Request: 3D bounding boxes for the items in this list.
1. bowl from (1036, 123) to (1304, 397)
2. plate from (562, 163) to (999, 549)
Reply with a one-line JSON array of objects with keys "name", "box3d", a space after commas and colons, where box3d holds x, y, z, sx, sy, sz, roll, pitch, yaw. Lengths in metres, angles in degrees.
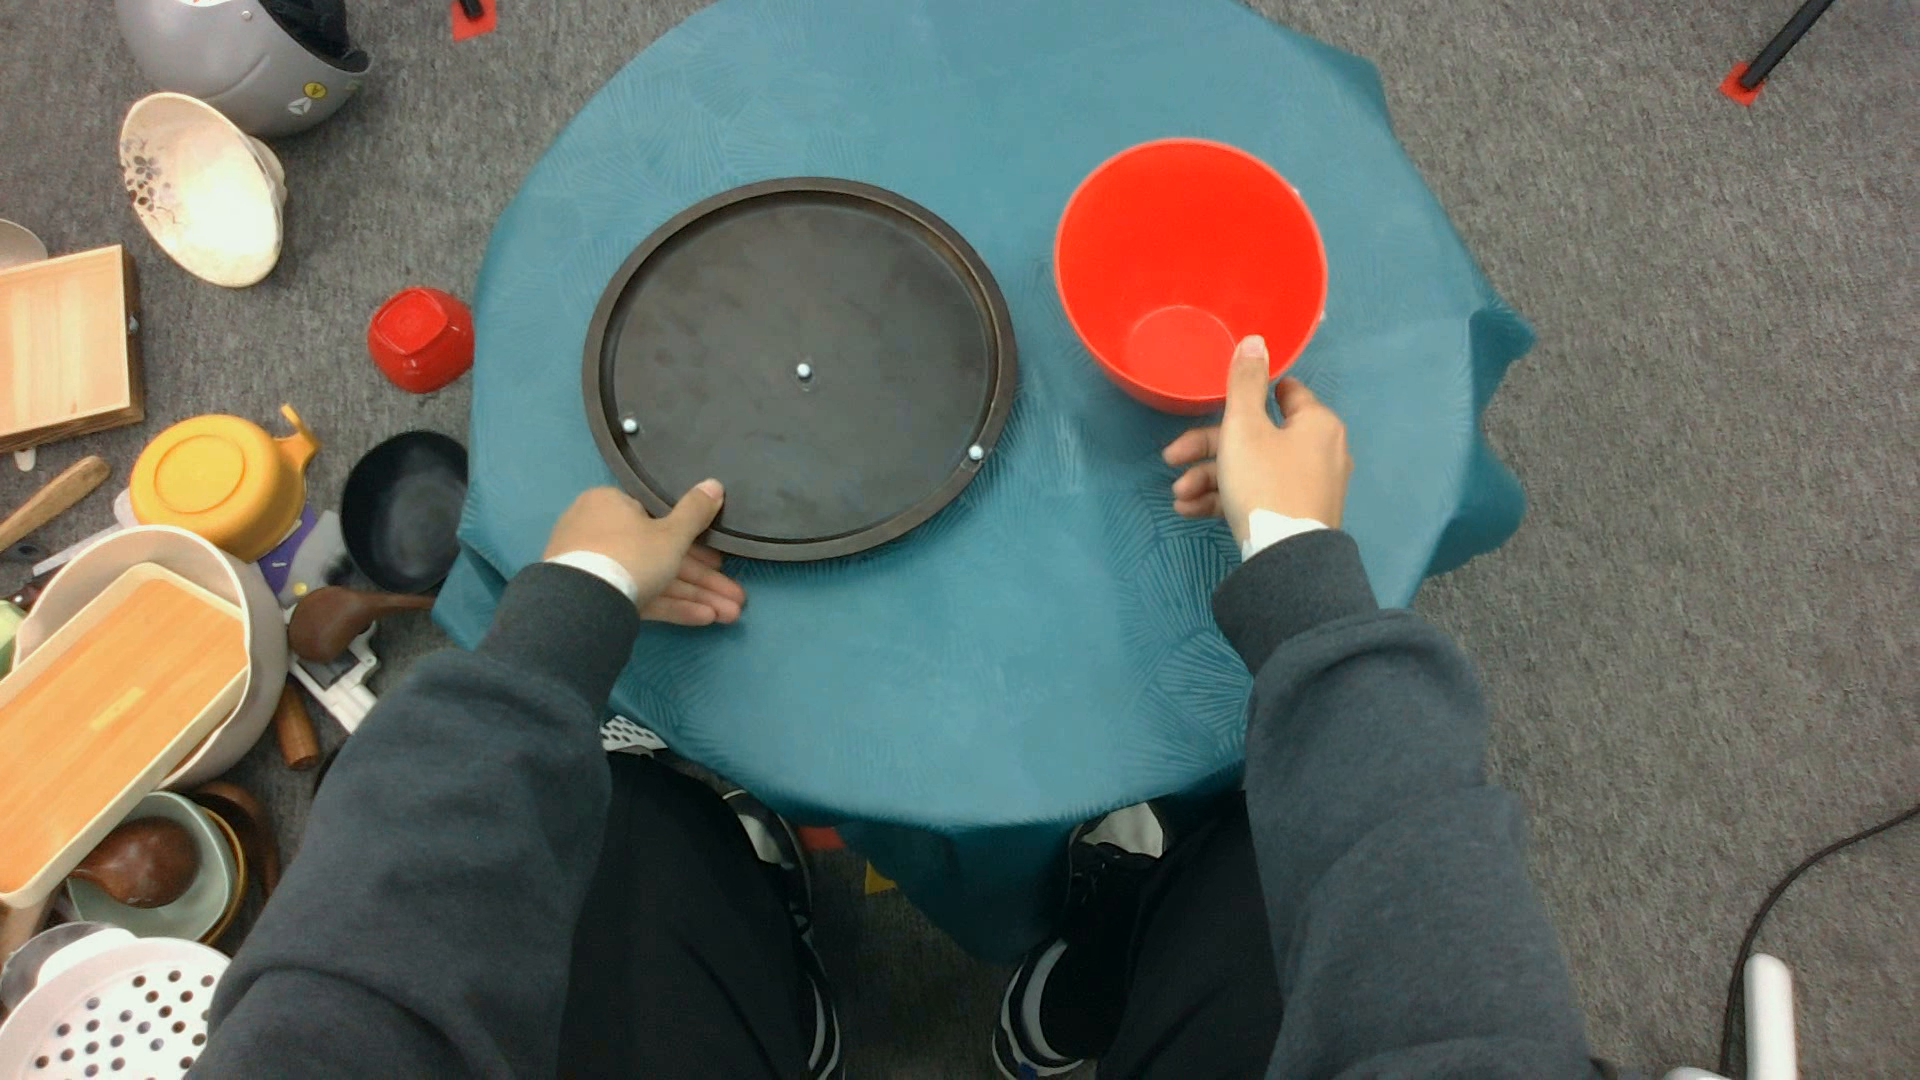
[{"name": "bowl", "box3d": [0.114, -0.144, 0.779, 0.148, 0.104, 0.148, 0, 69, -1]}, {"name": "plate", "box3d": [-0.104, -0.111, 0.806, 0.255, 0.029, 0.255, 1, 69, -2]}]
